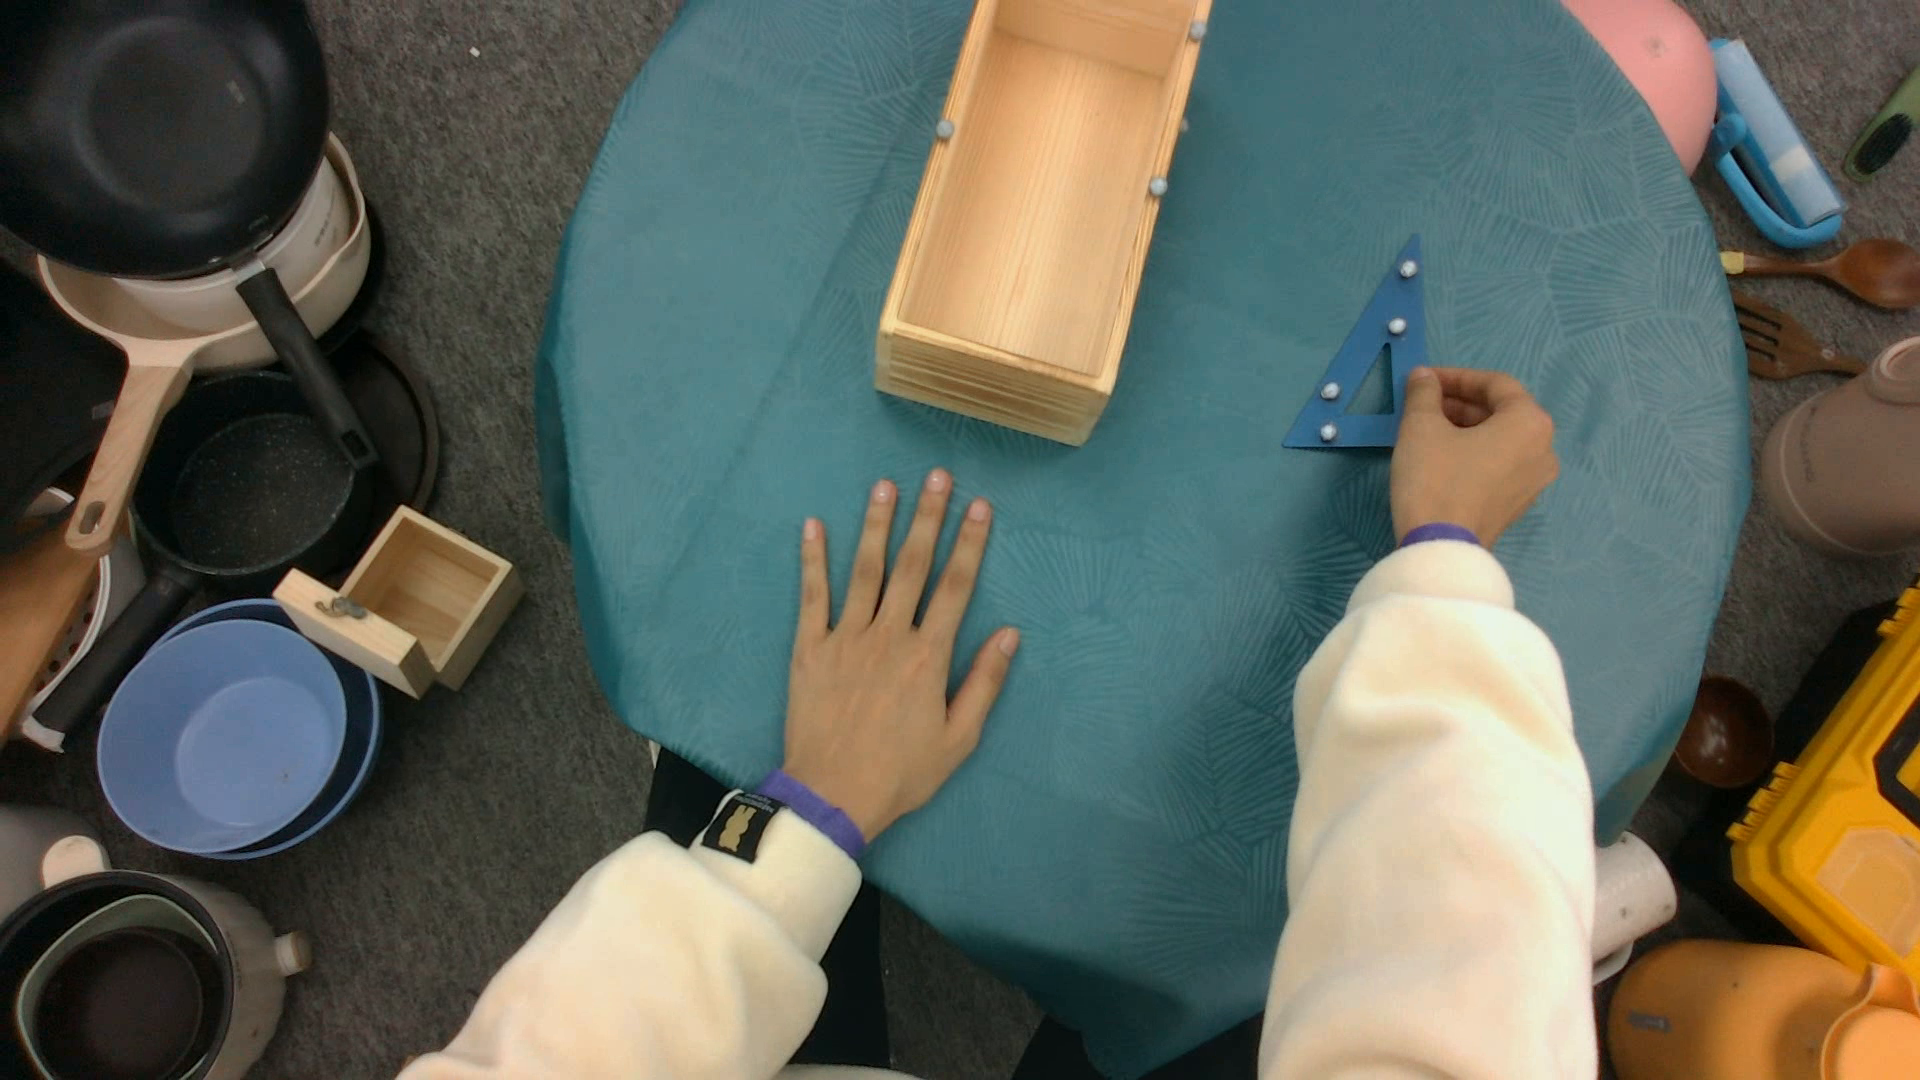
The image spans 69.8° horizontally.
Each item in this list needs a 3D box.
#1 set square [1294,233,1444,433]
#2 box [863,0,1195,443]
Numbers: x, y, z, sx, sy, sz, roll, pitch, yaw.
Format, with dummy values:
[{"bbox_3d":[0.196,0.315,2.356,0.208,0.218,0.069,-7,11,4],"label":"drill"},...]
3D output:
[{"bbox_3d":[0.226,-0.097,0.691,0.061,0.006,0.132,33,76,16],"label":"set square"},{"bbox_3d":[0.032,-0.167,0.658,0.107,0.080,0.212,15,75,-1],"label":"box"}]
